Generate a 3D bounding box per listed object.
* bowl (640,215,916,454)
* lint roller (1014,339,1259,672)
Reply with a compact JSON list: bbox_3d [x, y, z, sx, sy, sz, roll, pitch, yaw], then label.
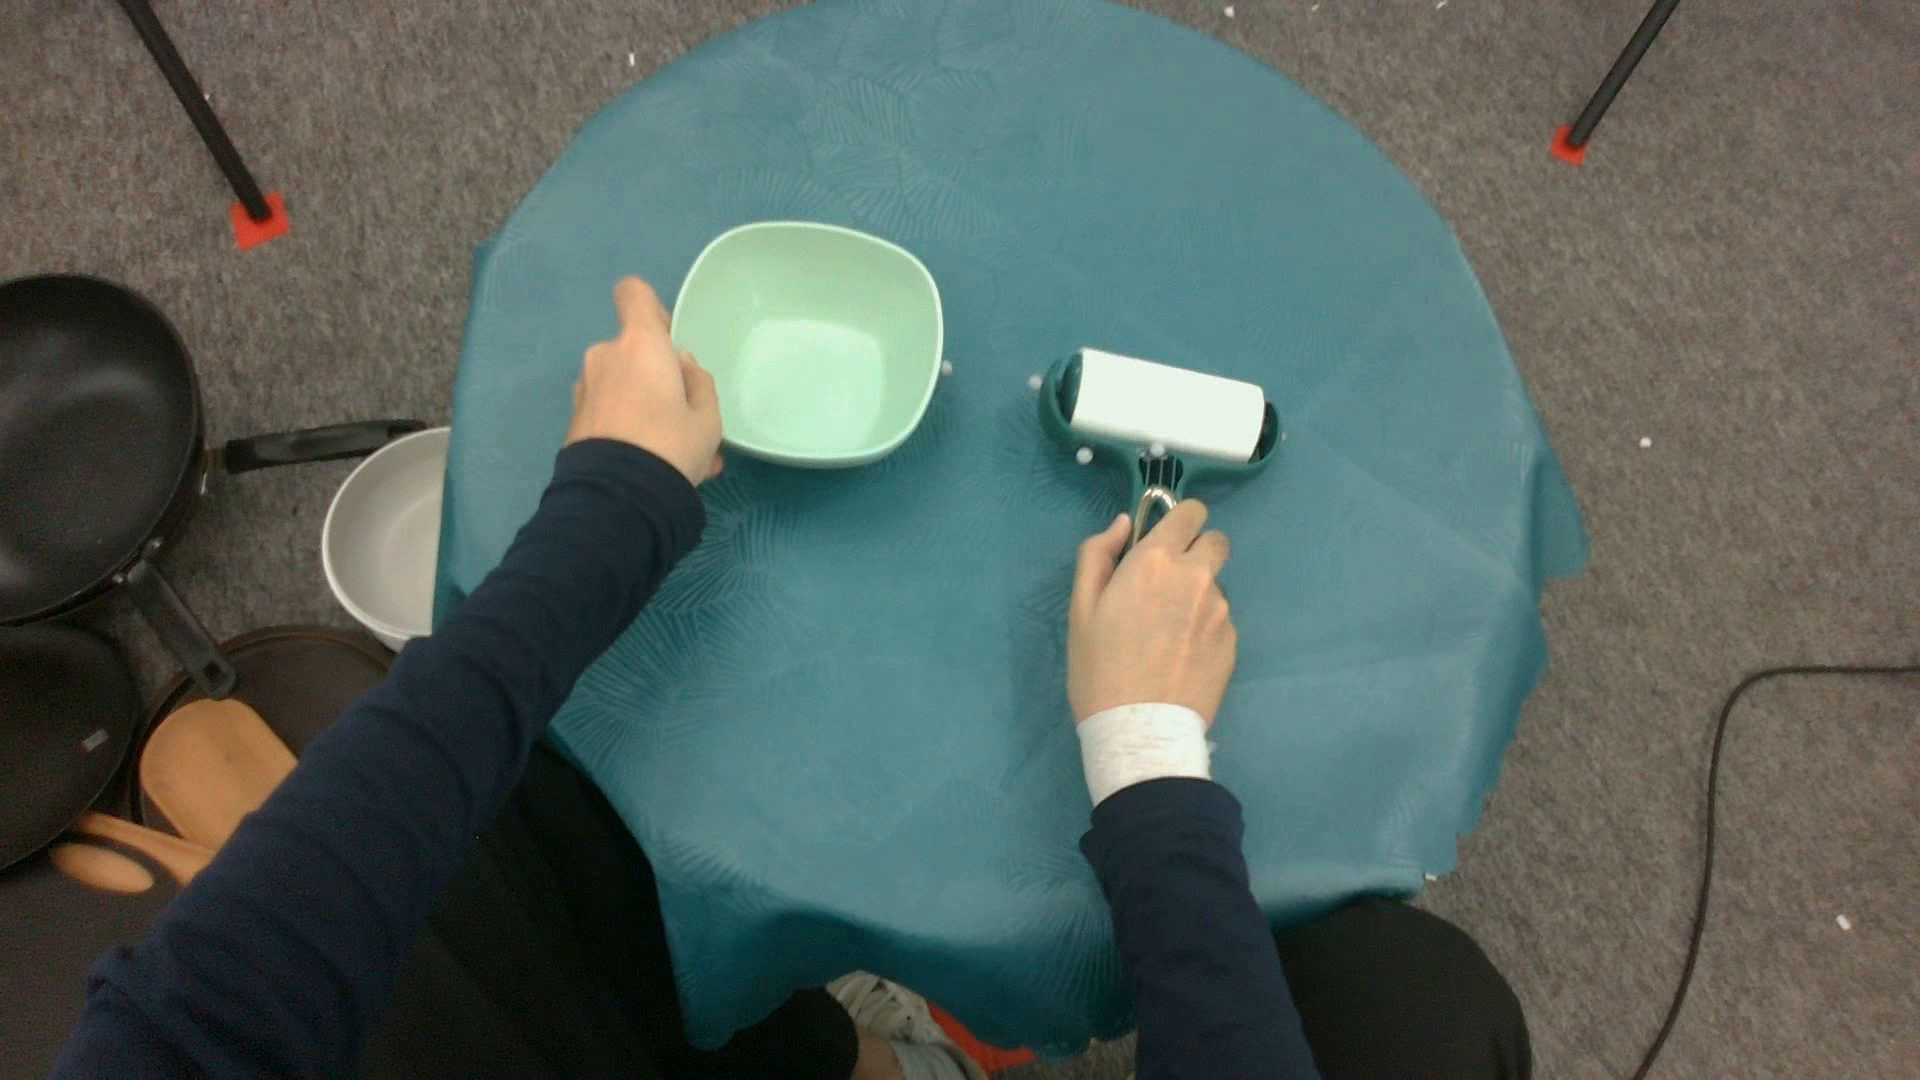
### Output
[{"bbox_3d":[-0.095,-0.098,0.729,0.151,0.058,0.152,4,63,-7],"label":"bowl"},{"bbox_3d":[0.090,-0.021,0.708,0.134,0.048,0.181,9,55,-6],"label":"lint roller"}]
